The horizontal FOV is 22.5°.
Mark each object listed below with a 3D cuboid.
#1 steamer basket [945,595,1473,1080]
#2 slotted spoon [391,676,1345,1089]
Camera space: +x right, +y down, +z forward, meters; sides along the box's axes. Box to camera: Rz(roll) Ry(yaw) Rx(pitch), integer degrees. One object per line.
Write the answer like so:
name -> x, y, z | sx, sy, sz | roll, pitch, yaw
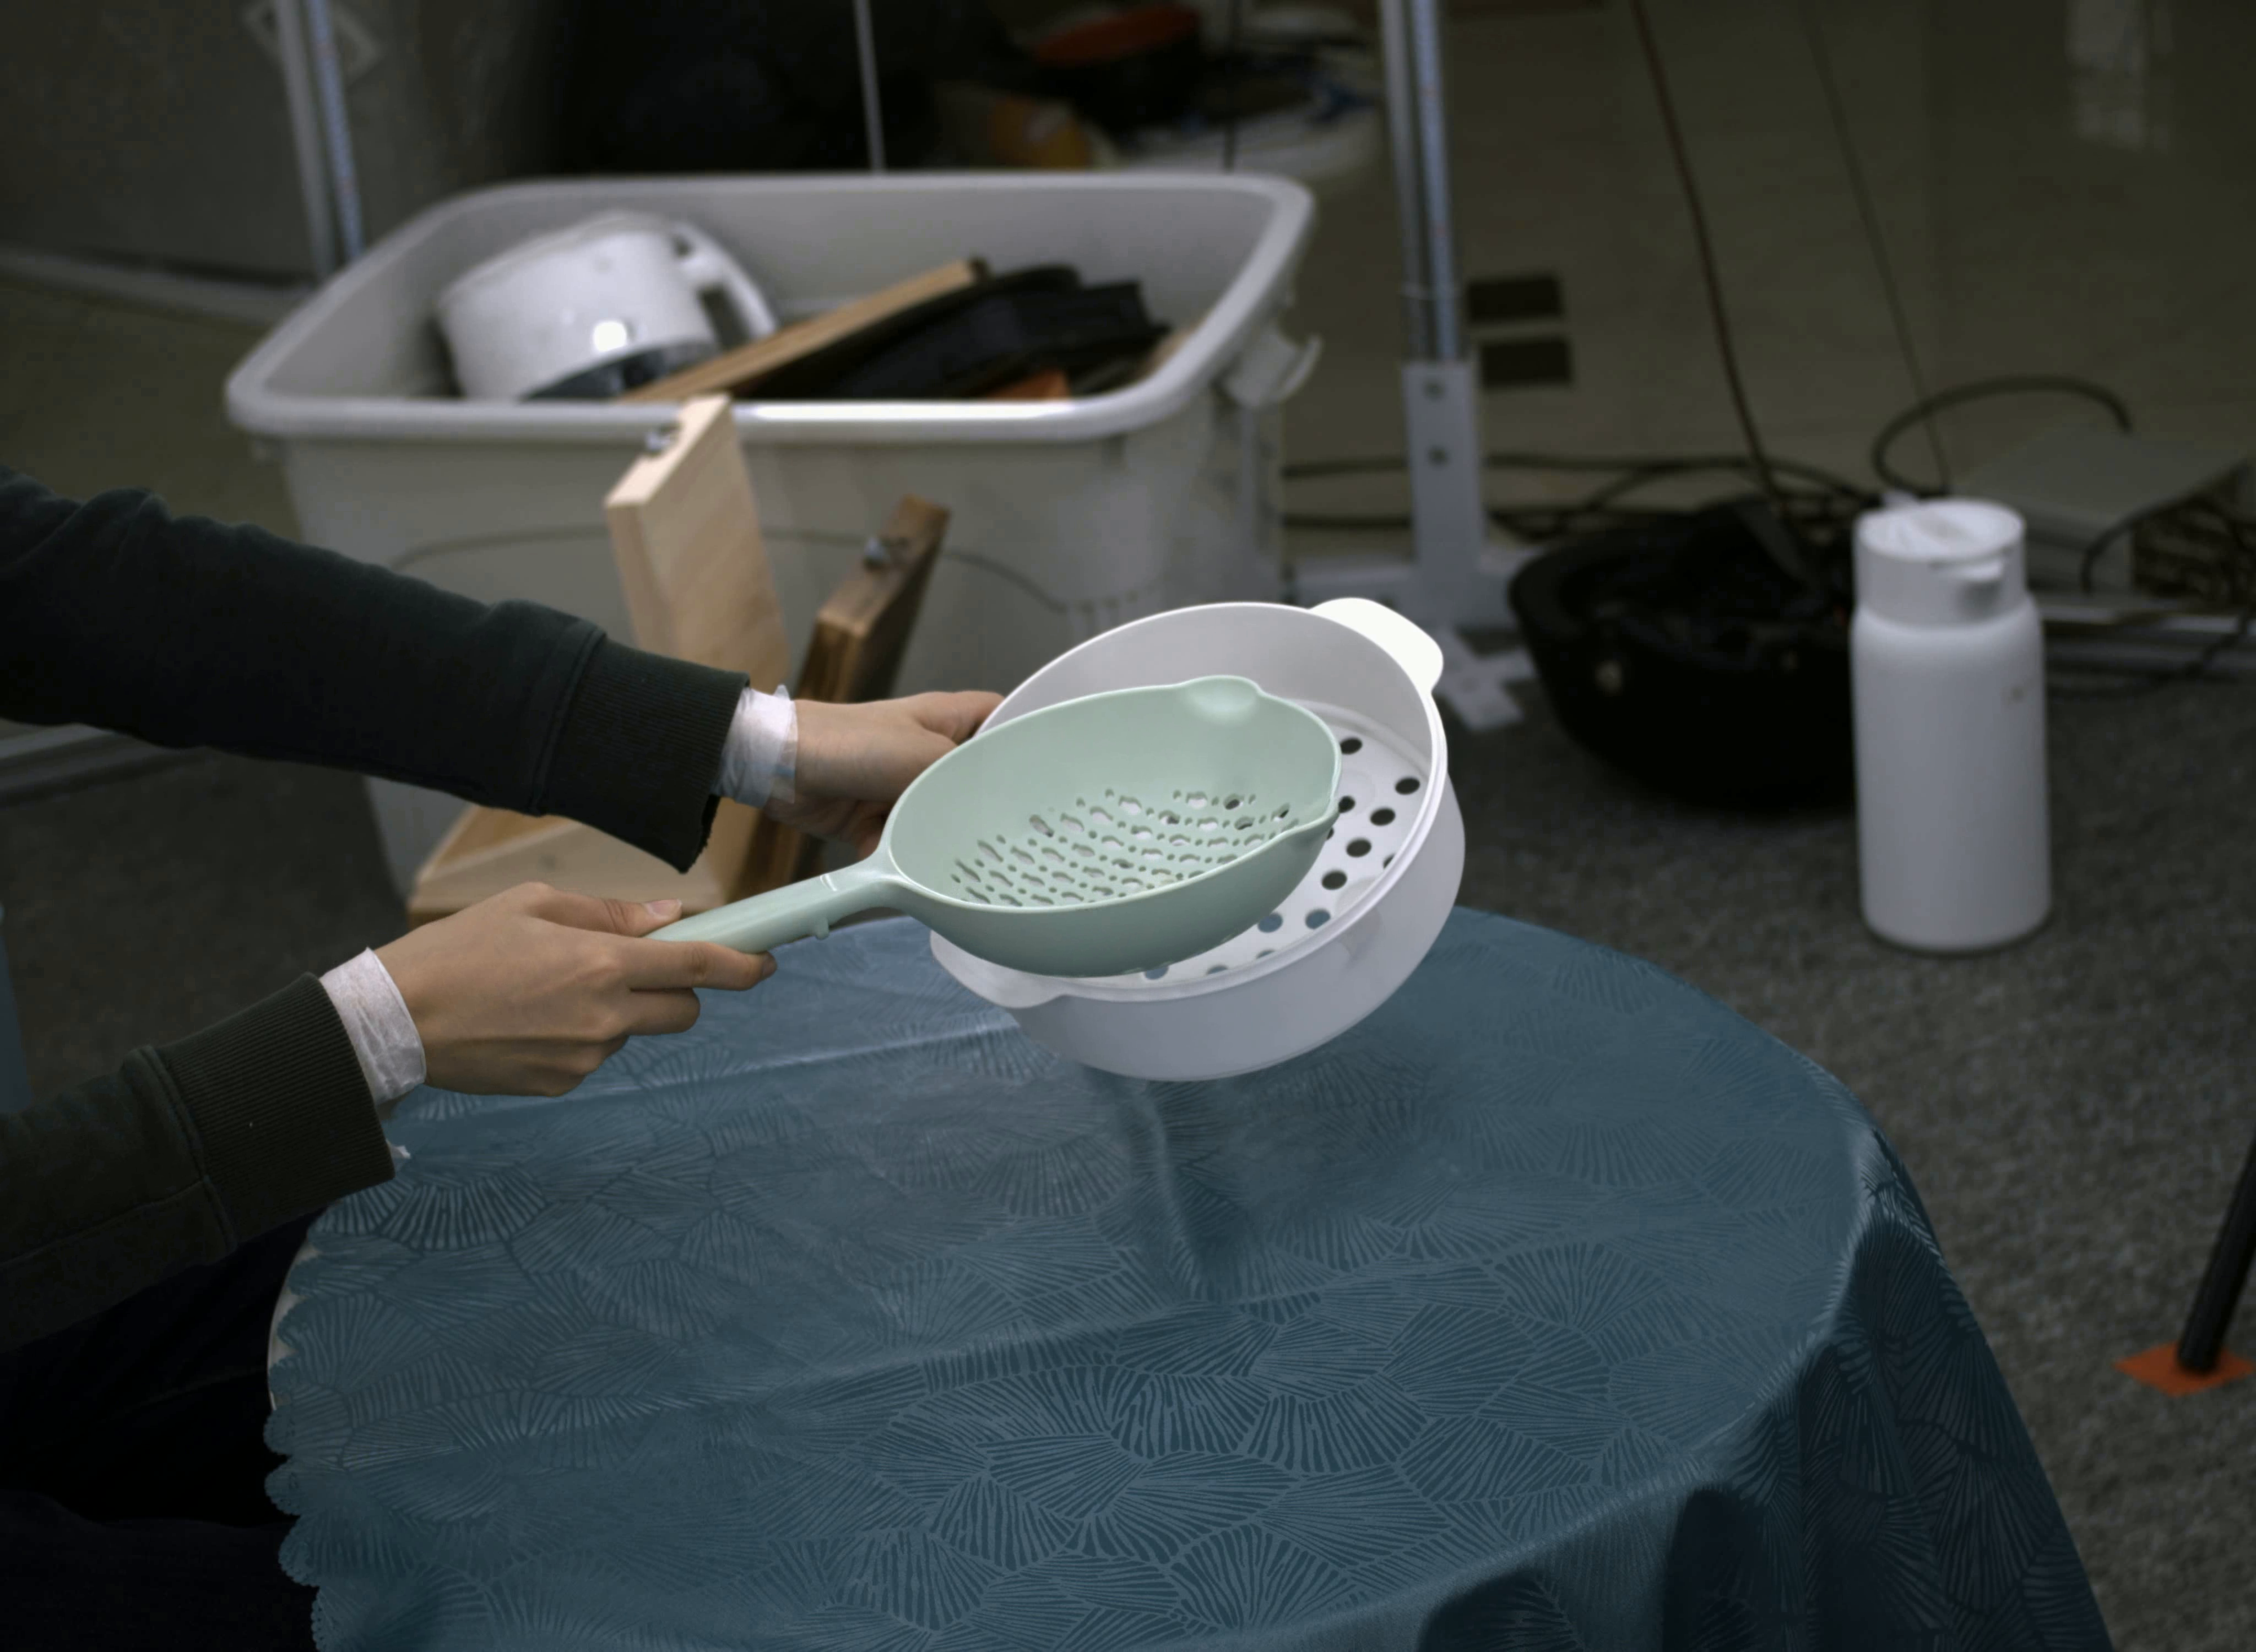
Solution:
steamer basket -> 0.034, 0.008, 2.173 | 0.229, 0.070, 0.199 | -41, 48, -17
slotted spoon -> -0.095, 0.029, 2.058 | 0.358, 0.076, 0.167 | -10, 26, -12
